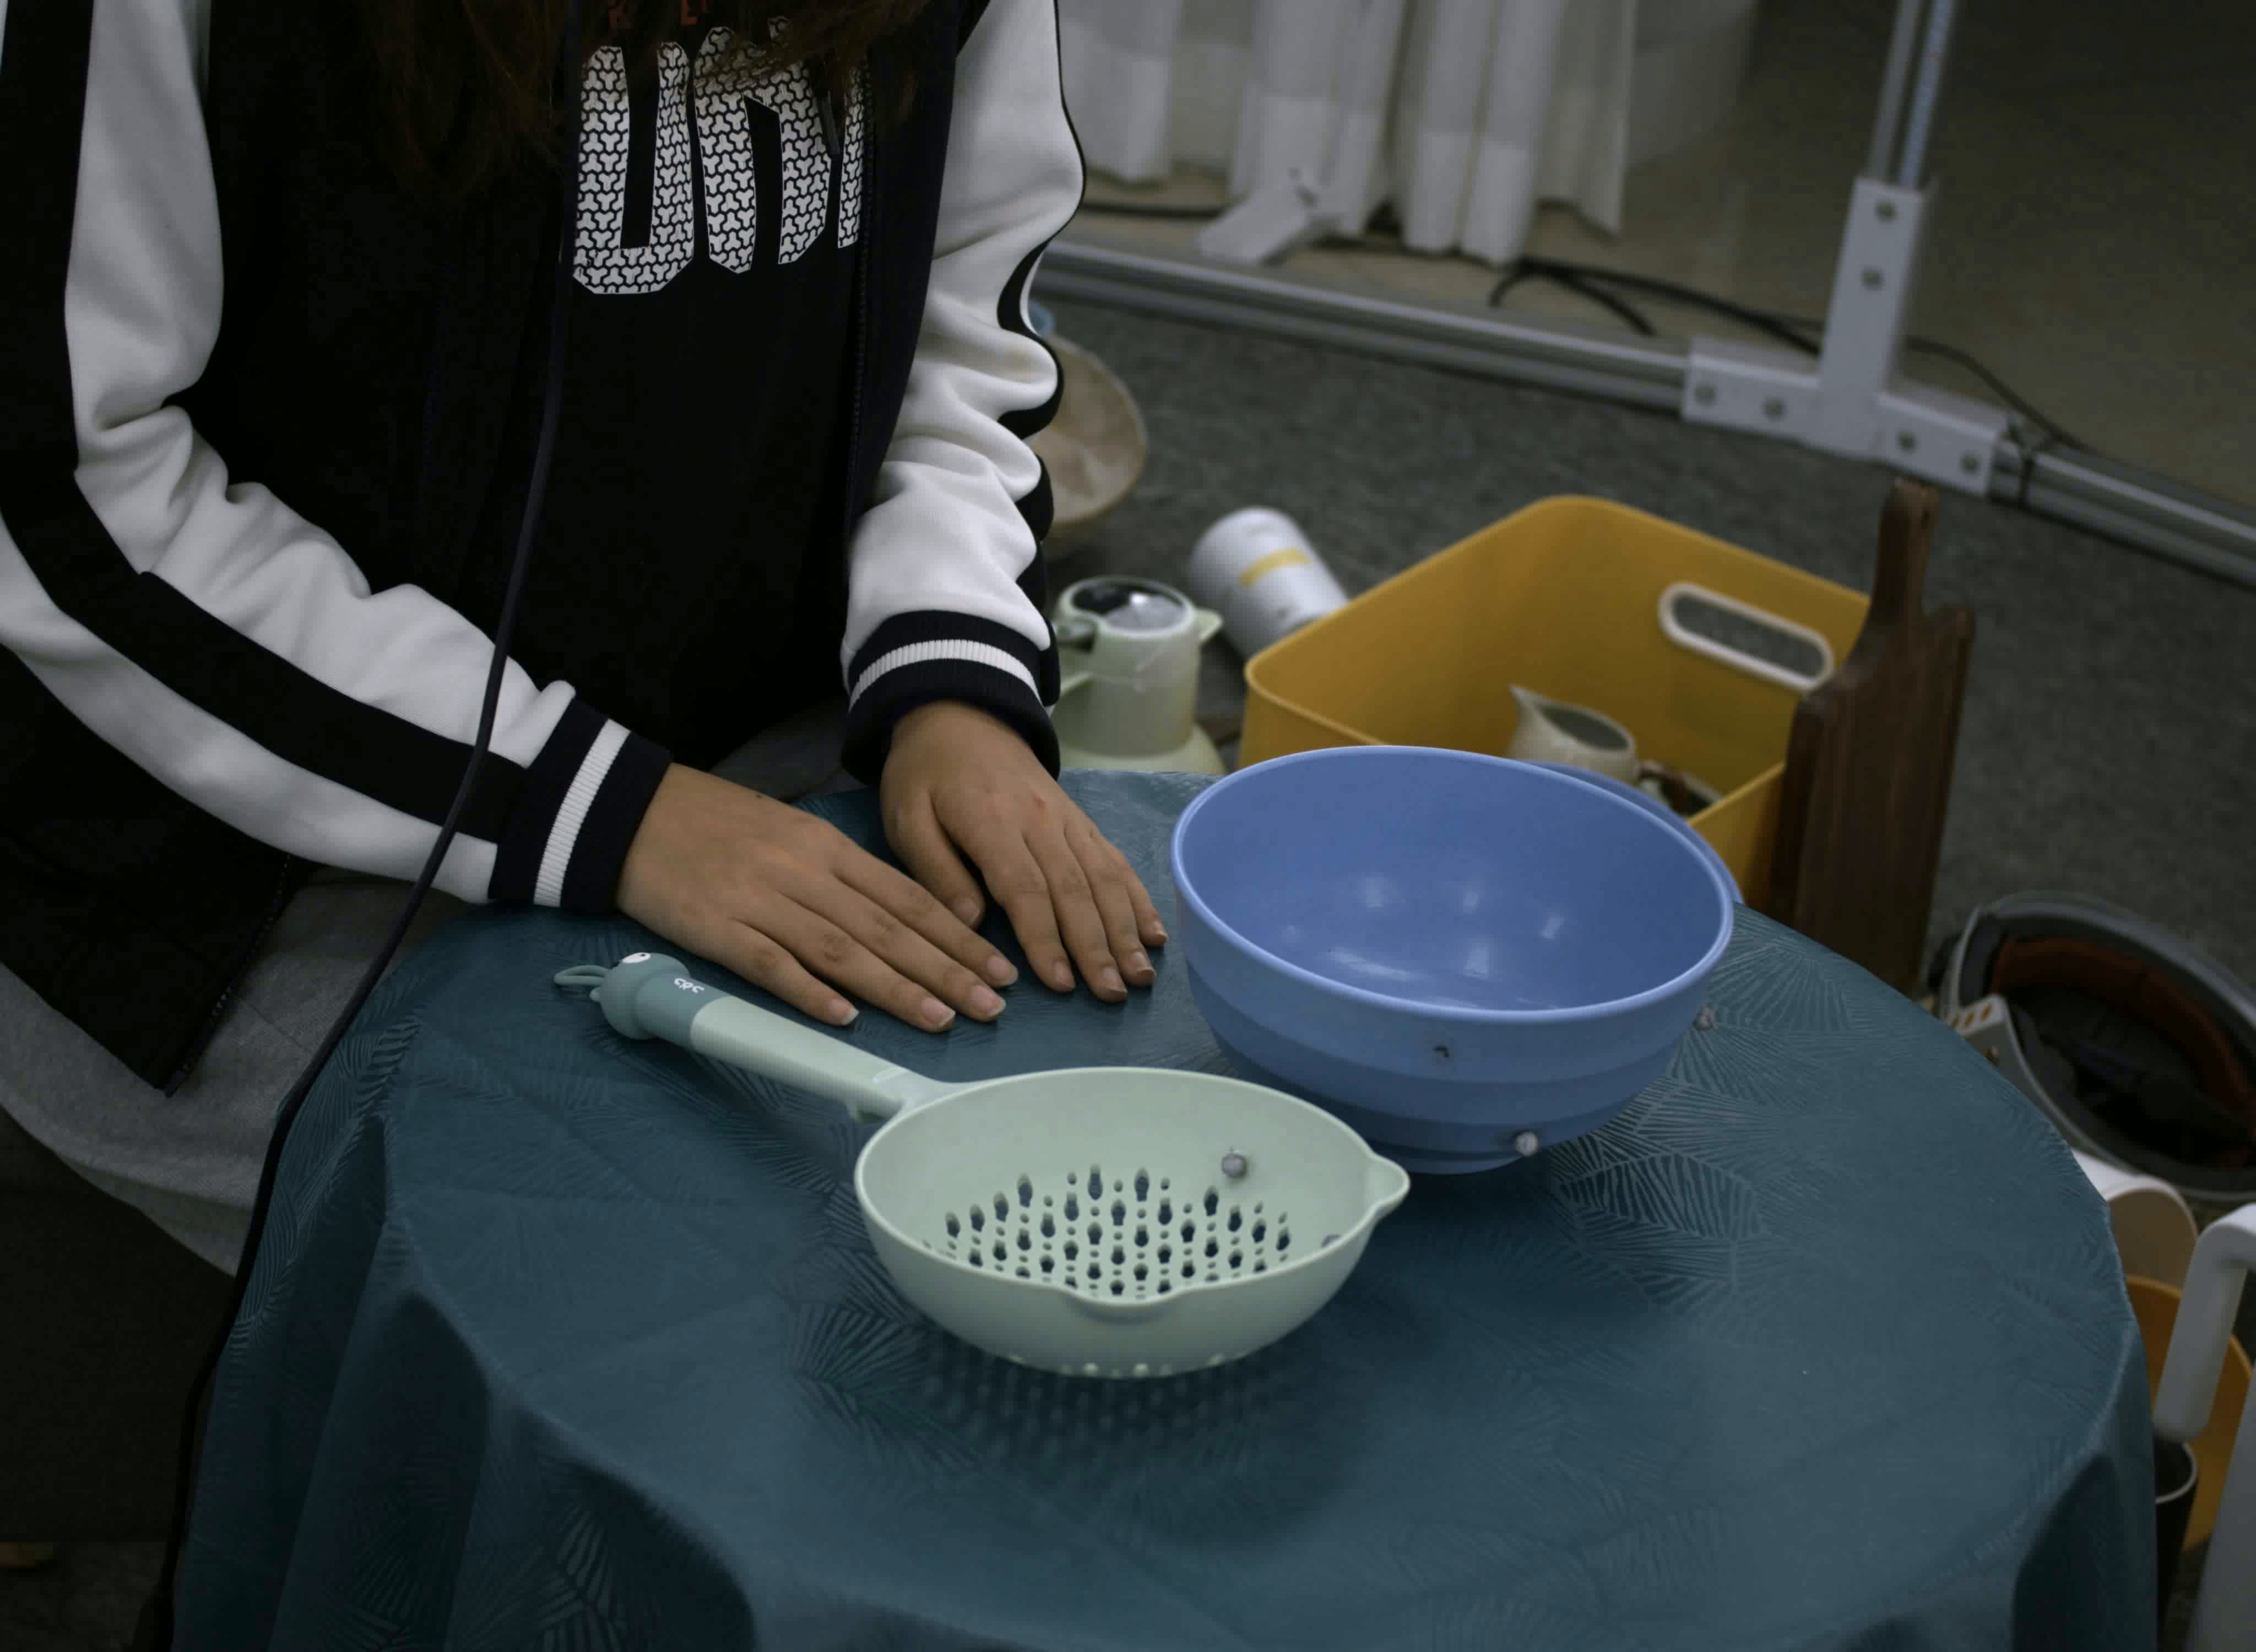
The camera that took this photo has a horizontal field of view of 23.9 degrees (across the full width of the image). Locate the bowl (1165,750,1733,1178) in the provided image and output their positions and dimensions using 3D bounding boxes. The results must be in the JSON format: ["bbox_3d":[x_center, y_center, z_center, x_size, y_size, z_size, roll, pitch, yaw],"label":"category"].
[{"bbox_3d":[0.106,0.059,1.851,0.196,0.095,0.197,4,27,-2],"label":"bowl"}]

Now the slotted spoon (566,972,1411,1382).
[{"bbox_3d":[-0.071,0.100,1.770,0.168,0.075,0.361,-18,34,-41],"label":"slotted spoon"}]
